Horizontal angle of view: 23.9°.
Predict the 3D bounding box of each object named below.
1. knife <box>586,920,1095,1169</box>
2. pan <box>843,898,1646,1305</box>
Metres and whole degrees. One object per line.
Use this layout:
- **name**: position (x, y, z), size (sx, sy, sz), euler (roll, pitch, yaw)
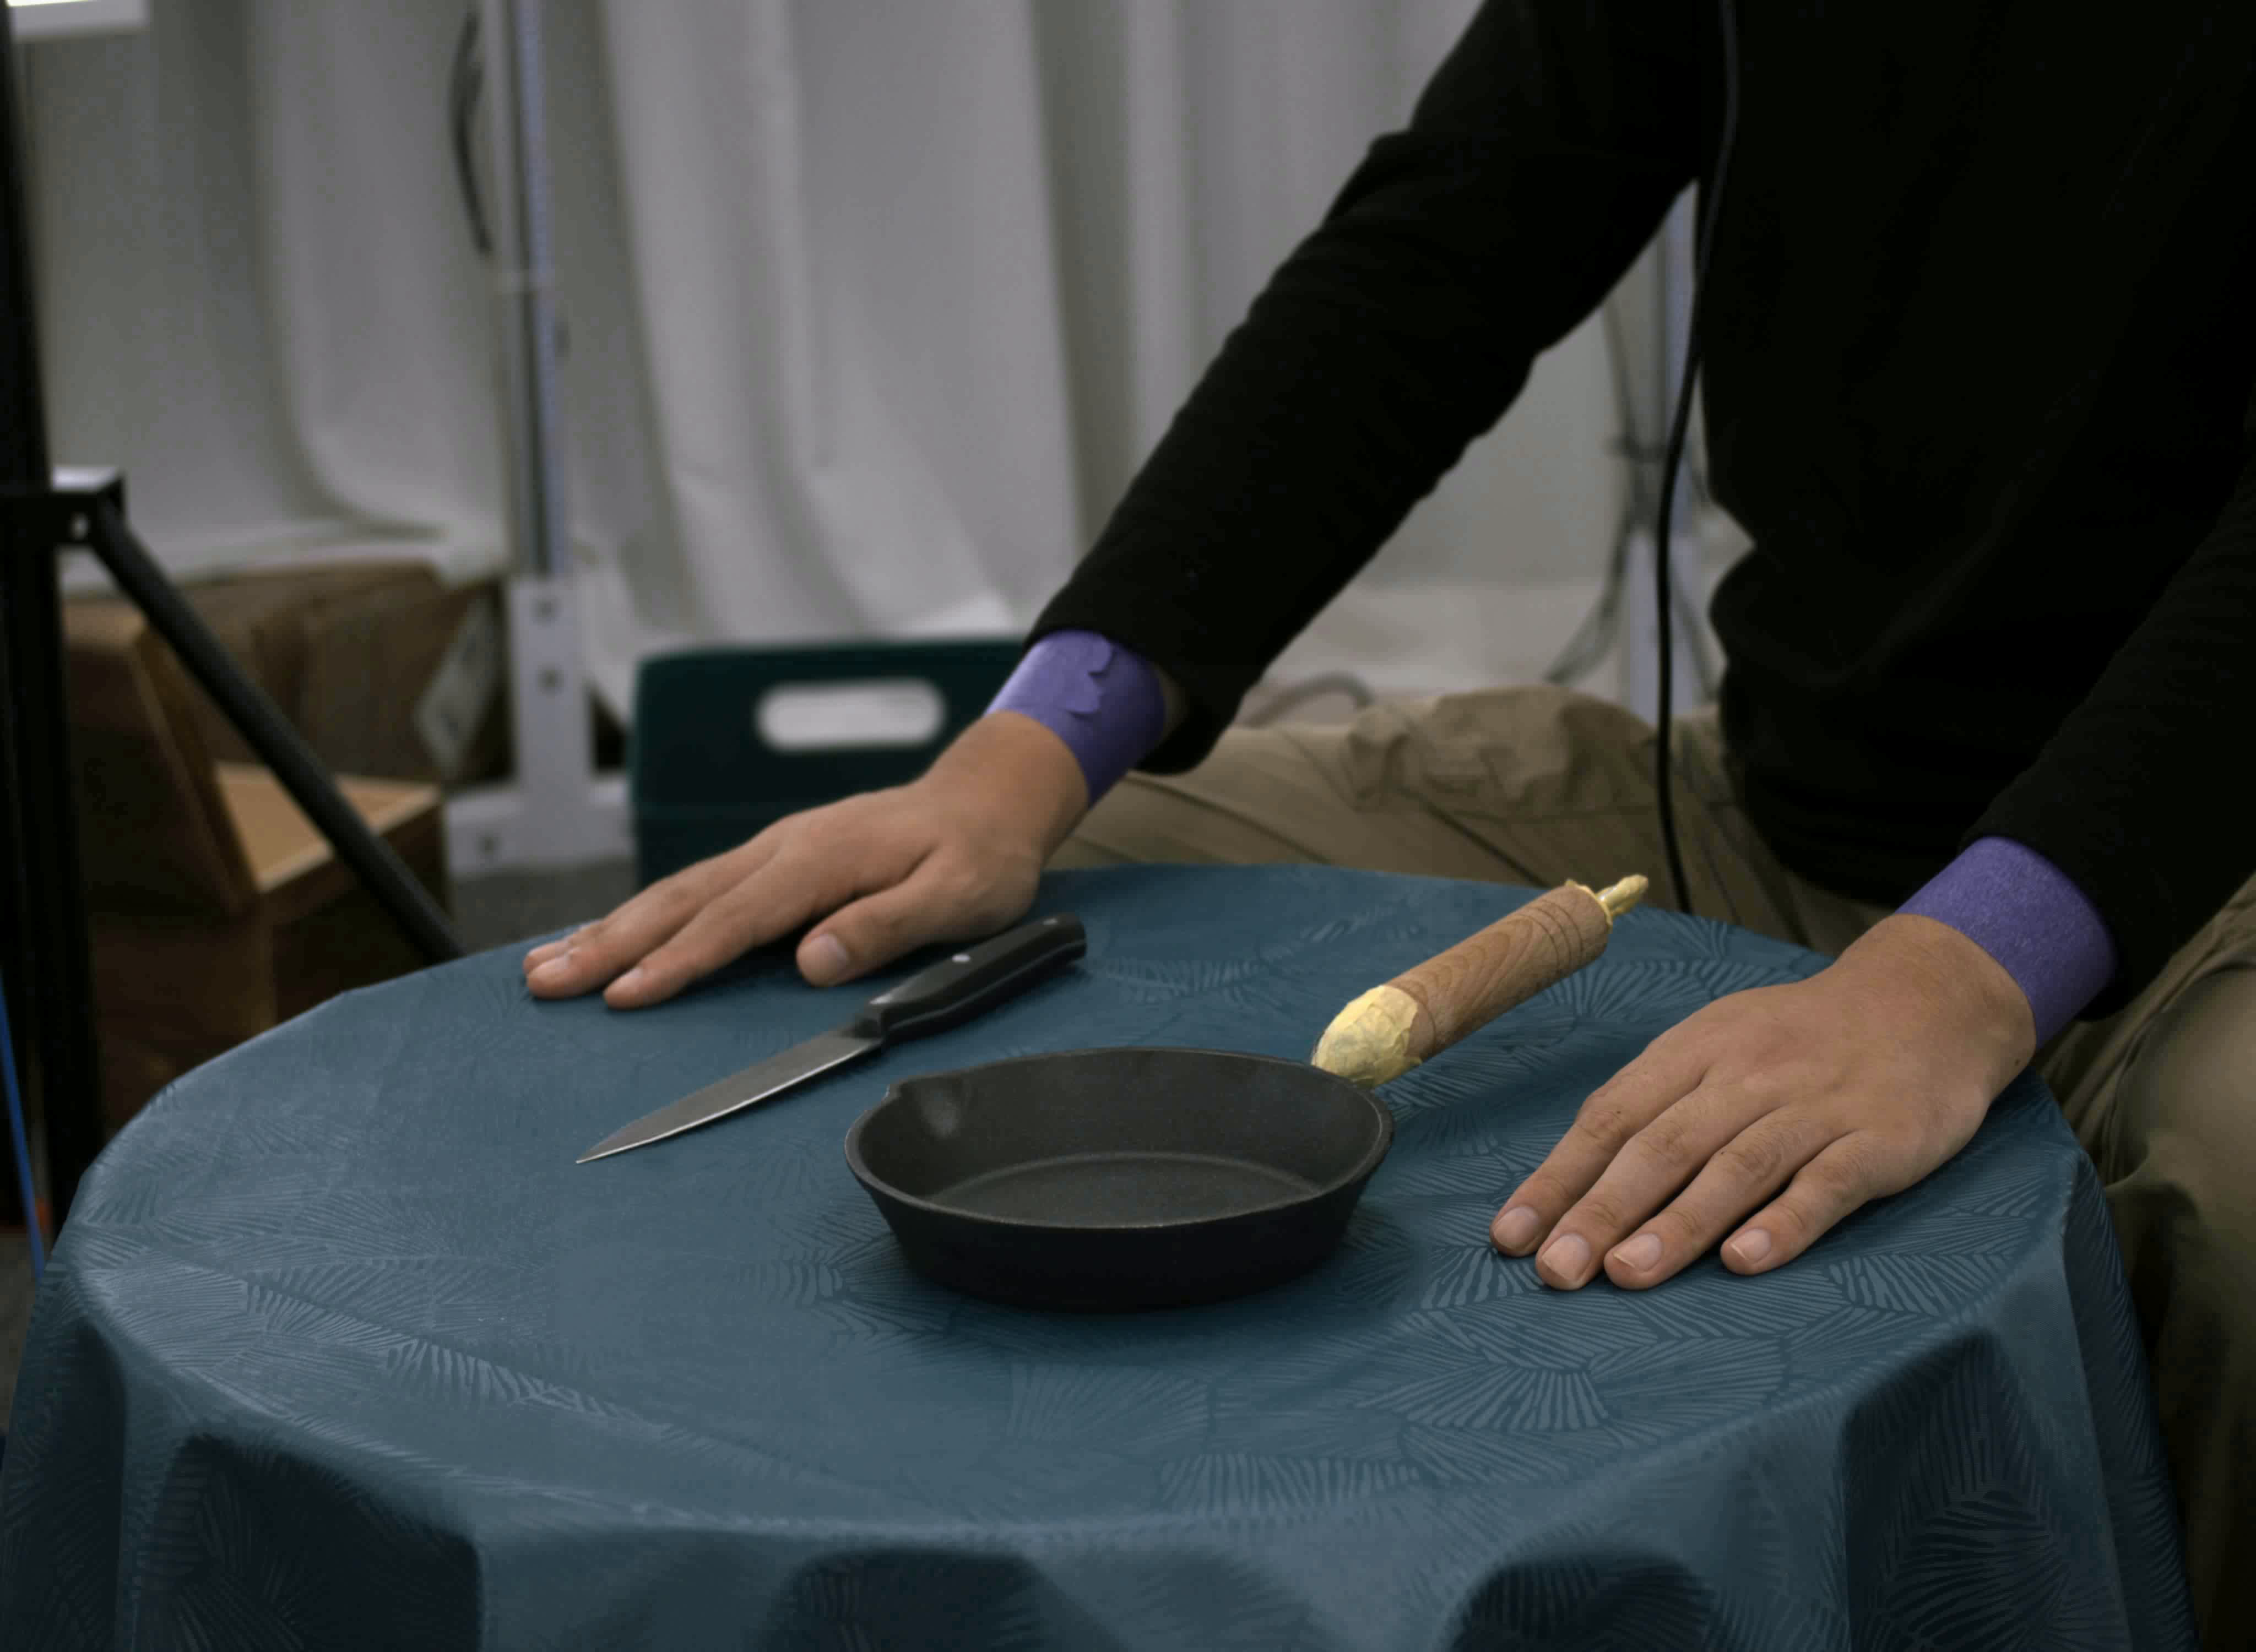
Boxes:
- **knife**: position (-0.091, 0.069, 1.687), size (0.025, 0.016, 0.233), euler (11, 23, 38)
- **pan**: position (0.054, 0.077, 1.570), size (0.173, 0.049, 0.317), euler (13, 21, 42)
